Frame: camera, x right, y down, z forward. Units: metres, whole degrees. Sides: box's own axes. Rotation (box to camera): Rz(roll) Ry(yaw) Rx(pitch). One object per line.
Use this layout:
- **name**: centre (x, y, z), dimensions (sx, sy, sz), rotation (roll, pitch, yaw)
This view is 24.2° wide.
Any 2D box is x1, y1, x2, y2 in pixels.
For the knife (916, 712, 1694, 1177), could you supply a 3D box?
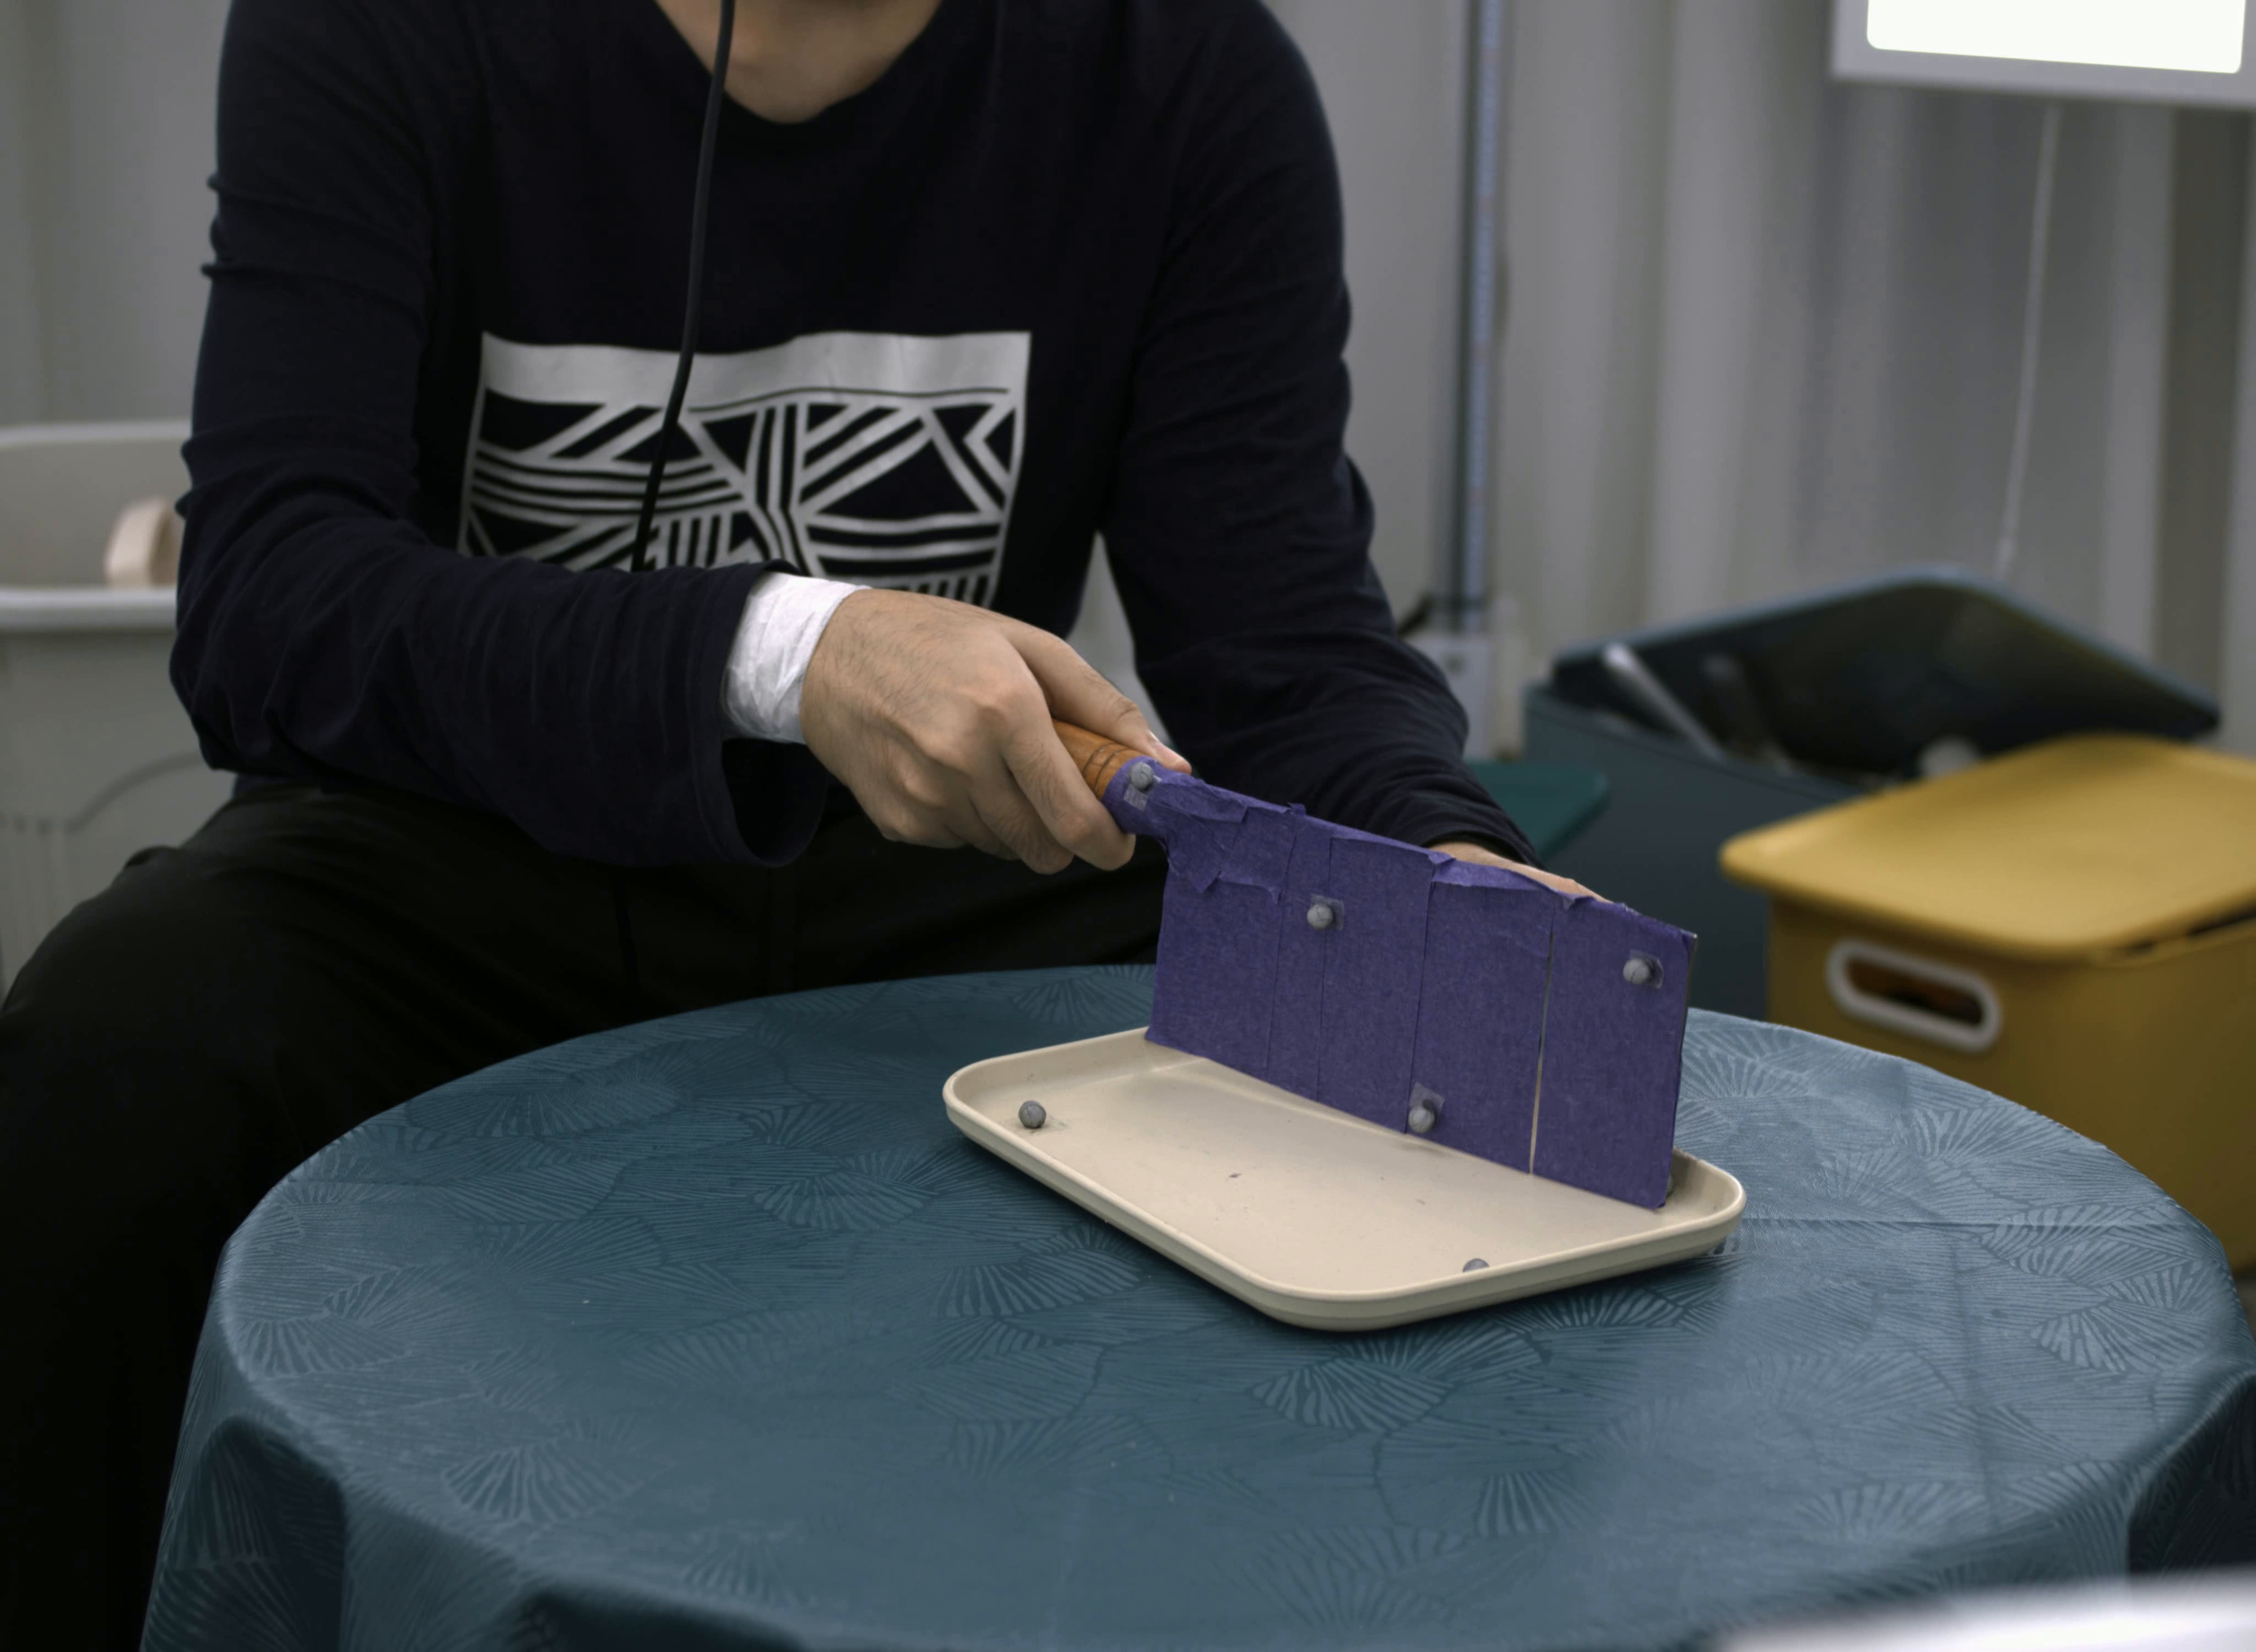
- **knife**: centre (0.048, 0.038, 1.672), dimensions (0.311, 0.104, 0.032), rotation (17, 16, 40)

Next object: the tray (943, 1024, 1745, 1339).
- **tray**: centre (0.063, 0.103, 1.621), dimensions (0.172, 0.017, 0.236), rotation (-11, 20, -29)
